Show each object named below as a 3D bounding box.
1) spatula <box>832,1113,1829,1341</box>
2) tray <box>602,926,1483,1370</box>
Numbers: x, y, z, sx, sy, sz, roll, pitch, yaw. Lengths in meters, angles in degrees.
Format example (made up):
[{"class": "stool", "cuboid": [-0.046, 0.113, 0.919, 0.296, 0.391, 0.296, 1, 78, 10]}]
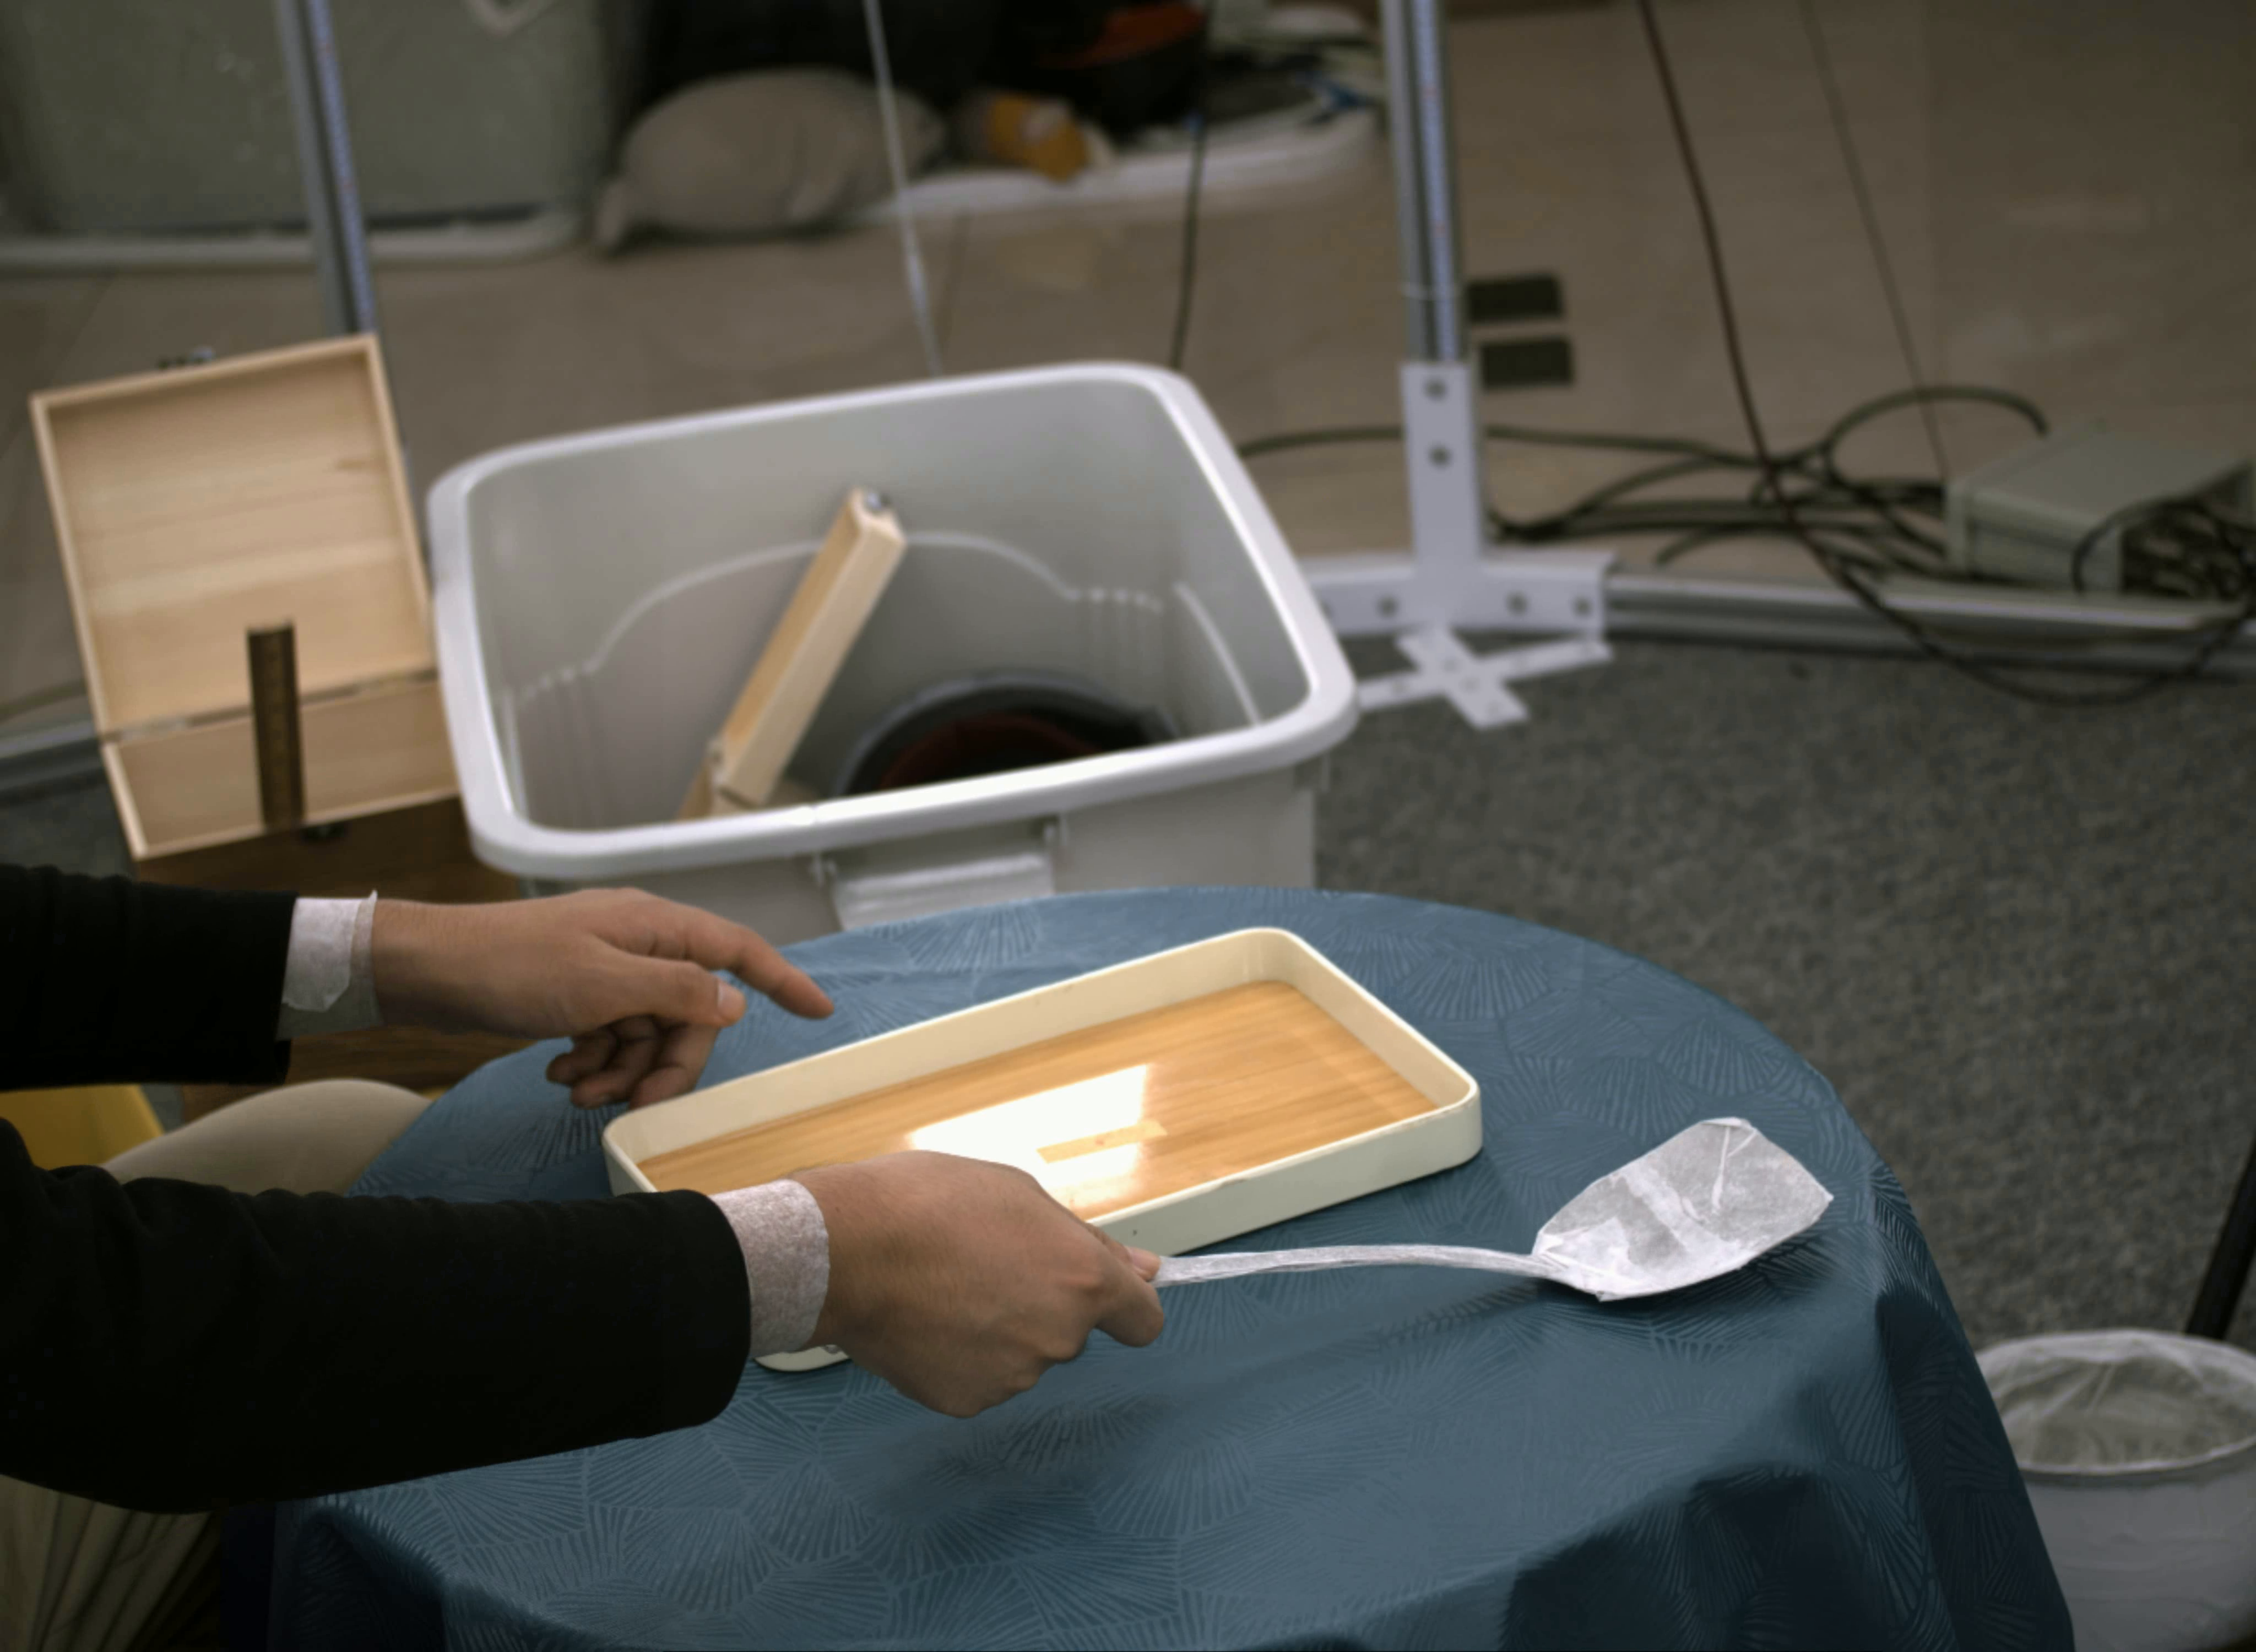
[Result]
[{"class": "spatula", "cuboid": [0.073, 0.149, 2.019, 0.364, 0.045, 0.097, -3, 22, -19]}, {"class": "tray", "cuboid": [-0.034, 0.119, 2.167, 0.299, 0.028, 0.189, -16, 26, -19]}]
